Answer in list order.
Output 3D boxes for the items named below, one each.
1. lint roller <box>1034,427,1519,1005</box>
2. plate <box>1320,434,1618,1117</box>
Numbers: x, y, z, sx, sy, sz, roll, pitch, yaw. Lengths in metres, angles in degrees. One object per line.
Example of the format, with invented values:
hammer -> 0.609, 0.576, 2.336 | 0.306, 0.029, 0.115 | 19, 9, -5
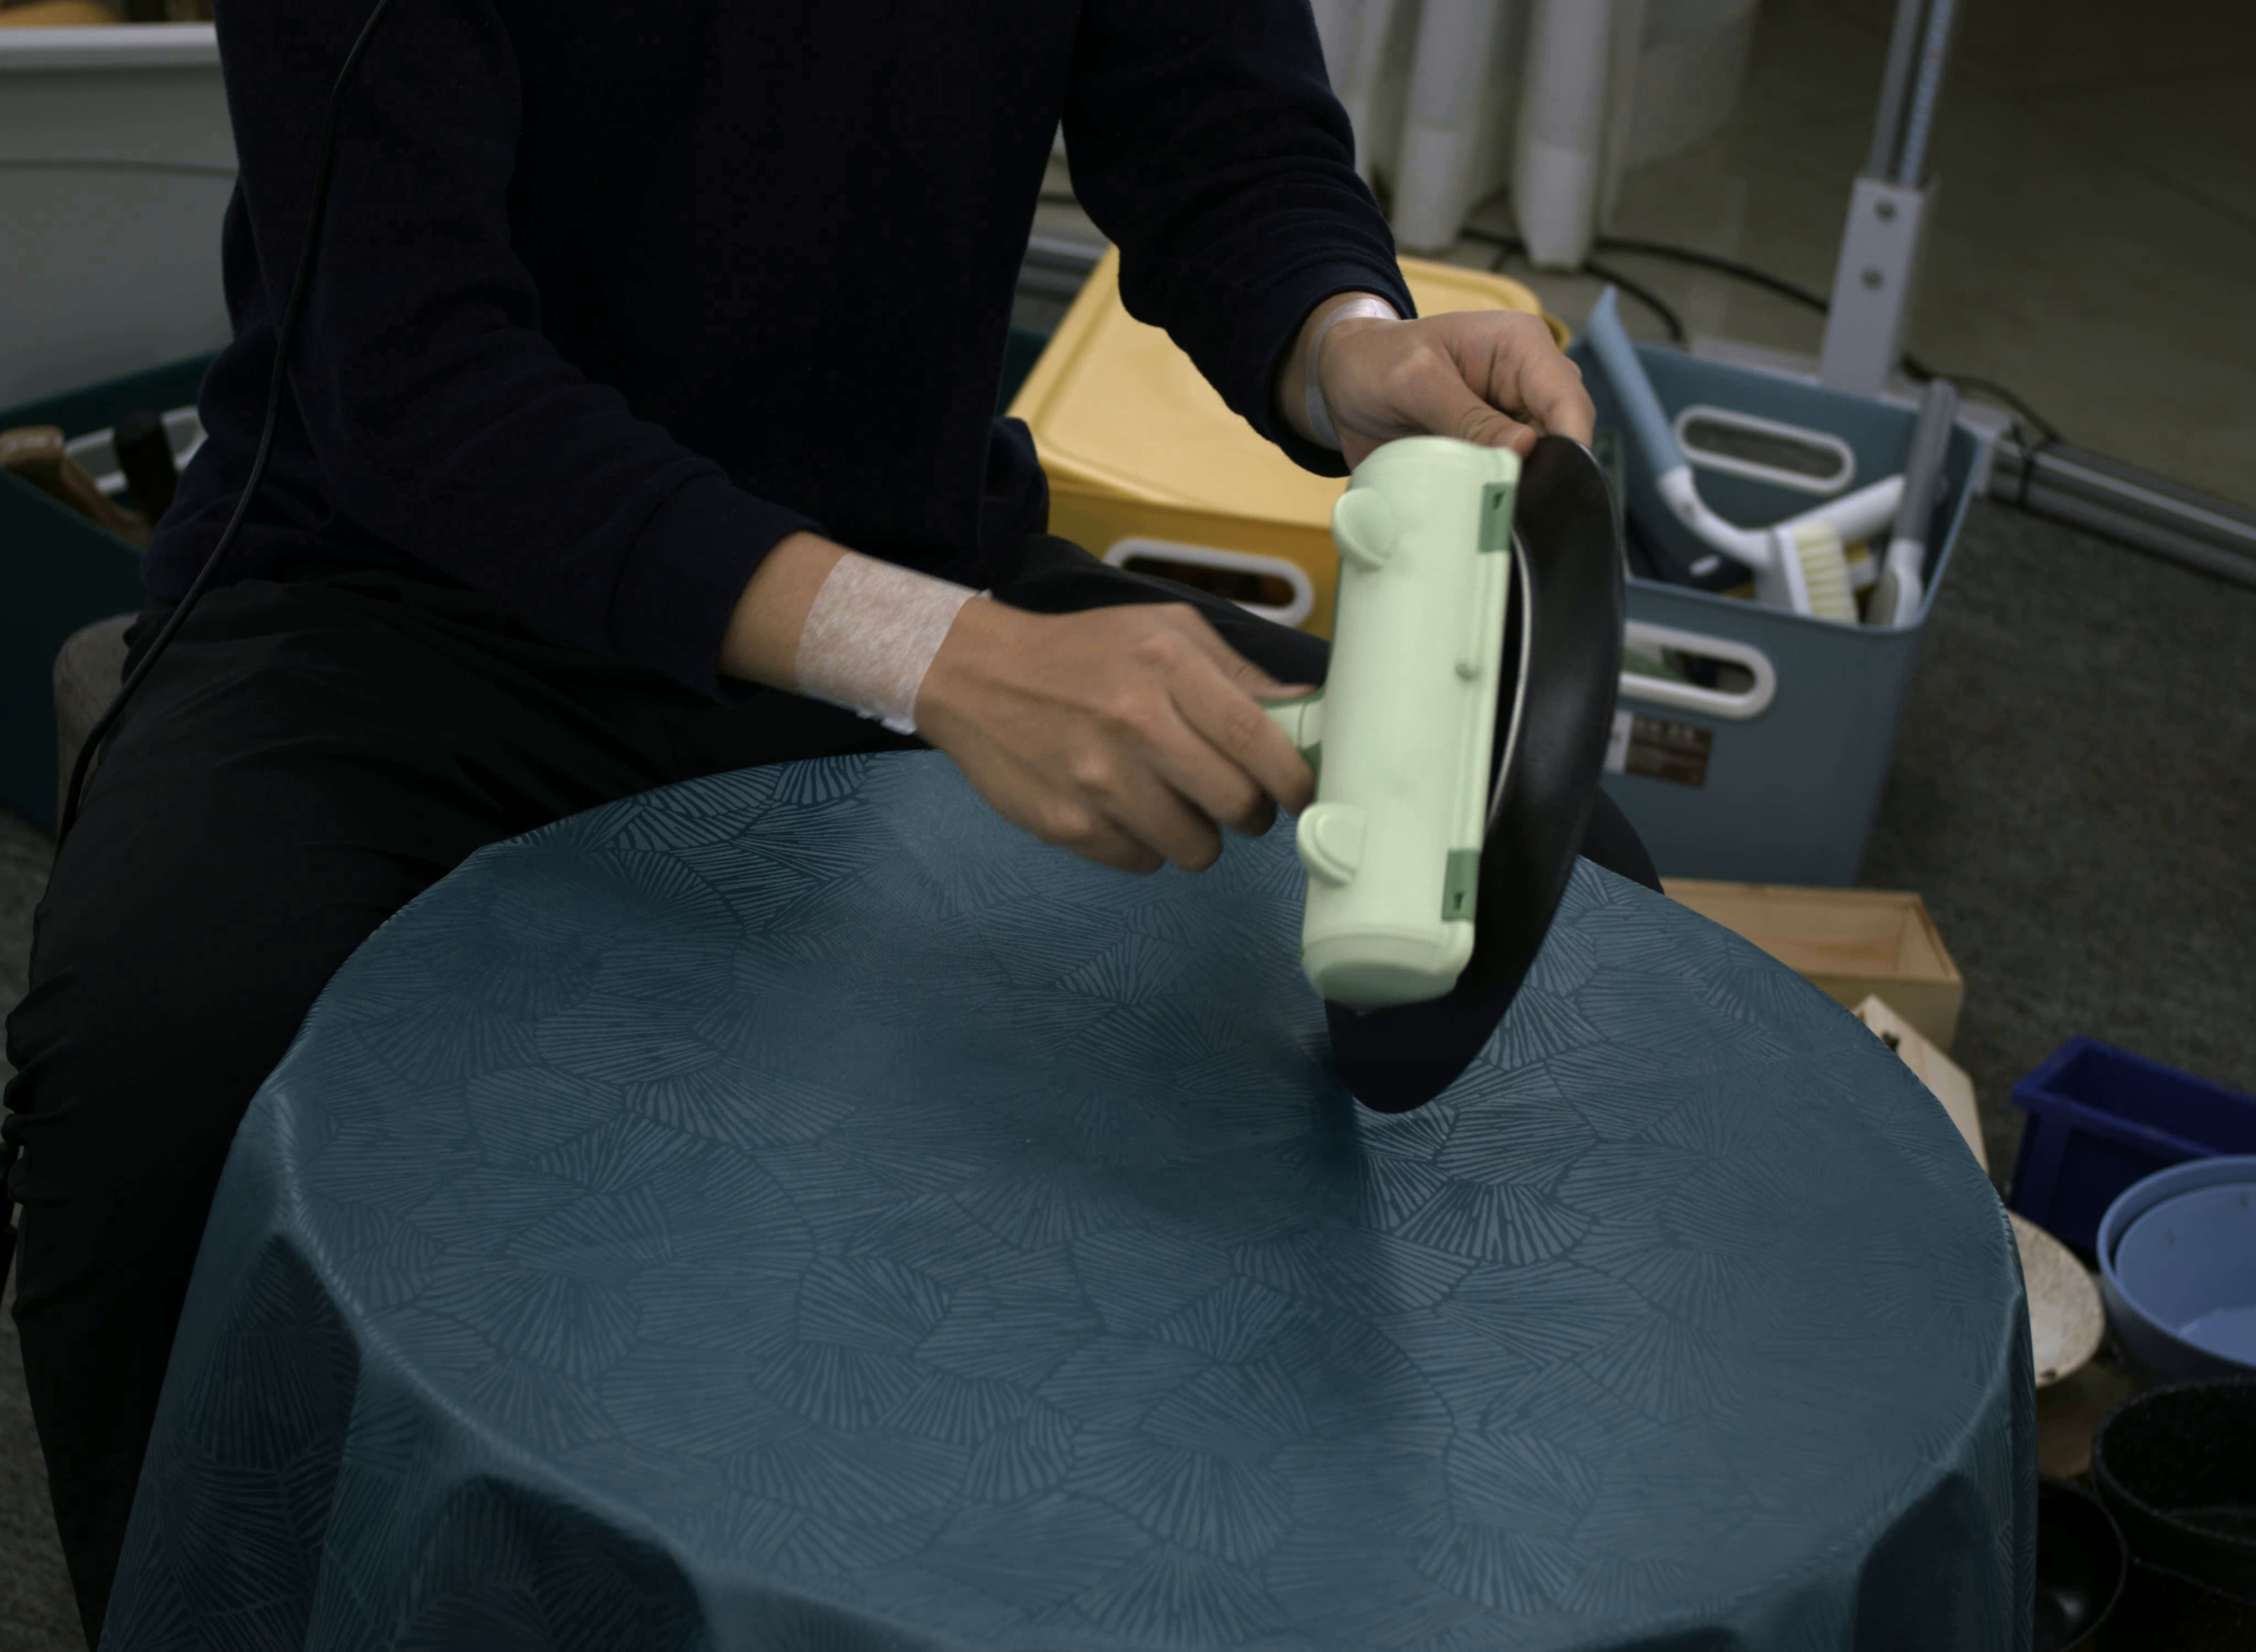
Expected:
lint roller -> 0.039, -0.037, 1.801 | 0.184, 0.081, 0.200 | -4, 63, 24
plate -> 0.109, -0.020, 1.844 | 0.023, 0.244, 0.246 | 15, 24, -15
